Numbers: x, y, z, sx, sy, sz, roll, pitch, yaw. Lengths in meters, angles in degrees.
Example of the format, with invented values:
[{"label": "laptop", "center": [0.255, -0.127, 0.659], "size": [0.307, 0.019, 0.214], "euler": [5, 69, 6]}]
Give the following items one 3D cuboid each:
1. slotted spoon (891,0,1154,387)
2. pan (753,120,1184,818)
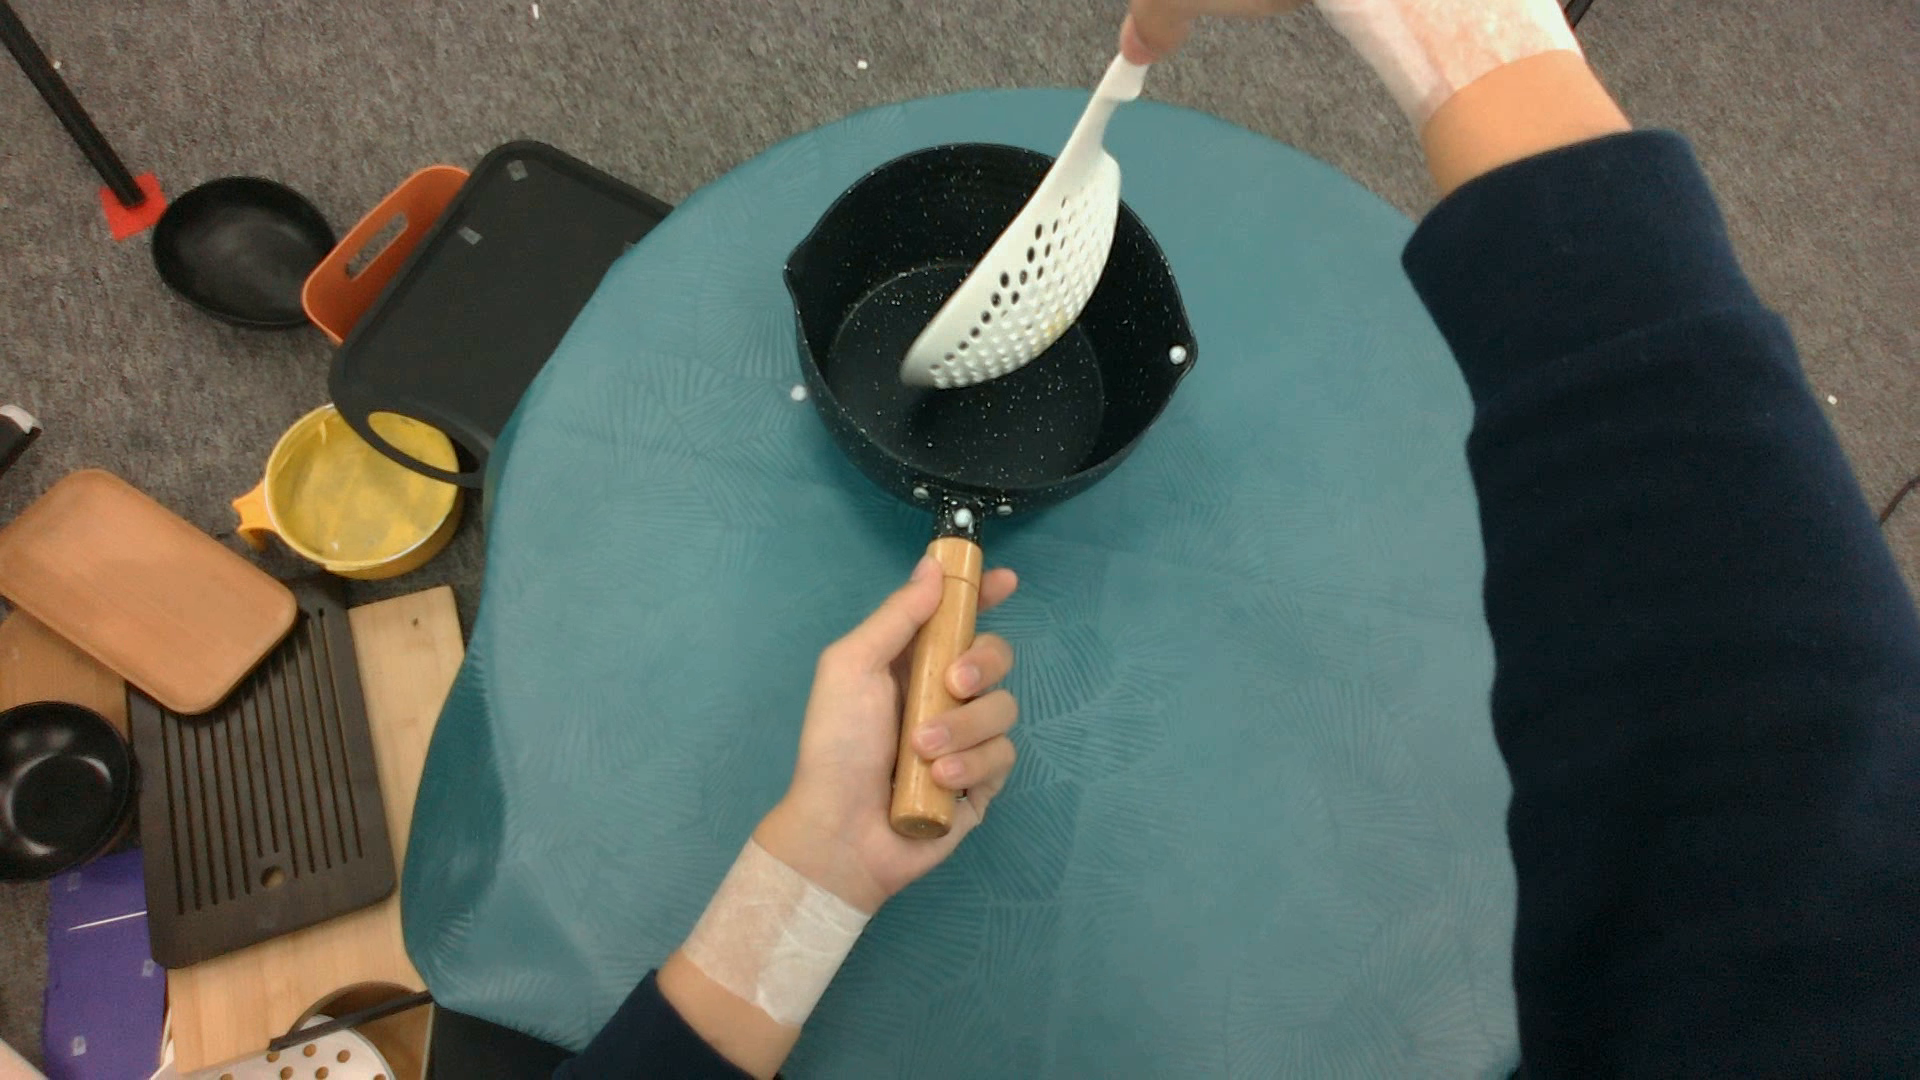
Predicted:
[{"label": "slotted spoon", "center": [0.046, -0.153, 0.559], "size": [0.050, 0.346, 0.137], "euler": [39, 69, 5]}, {"label": "pan", "center": [-0.007, -0.034, 0.641], "size": [0.207, 0.108, 0.344], "euler": [10, 67, -8]}]
